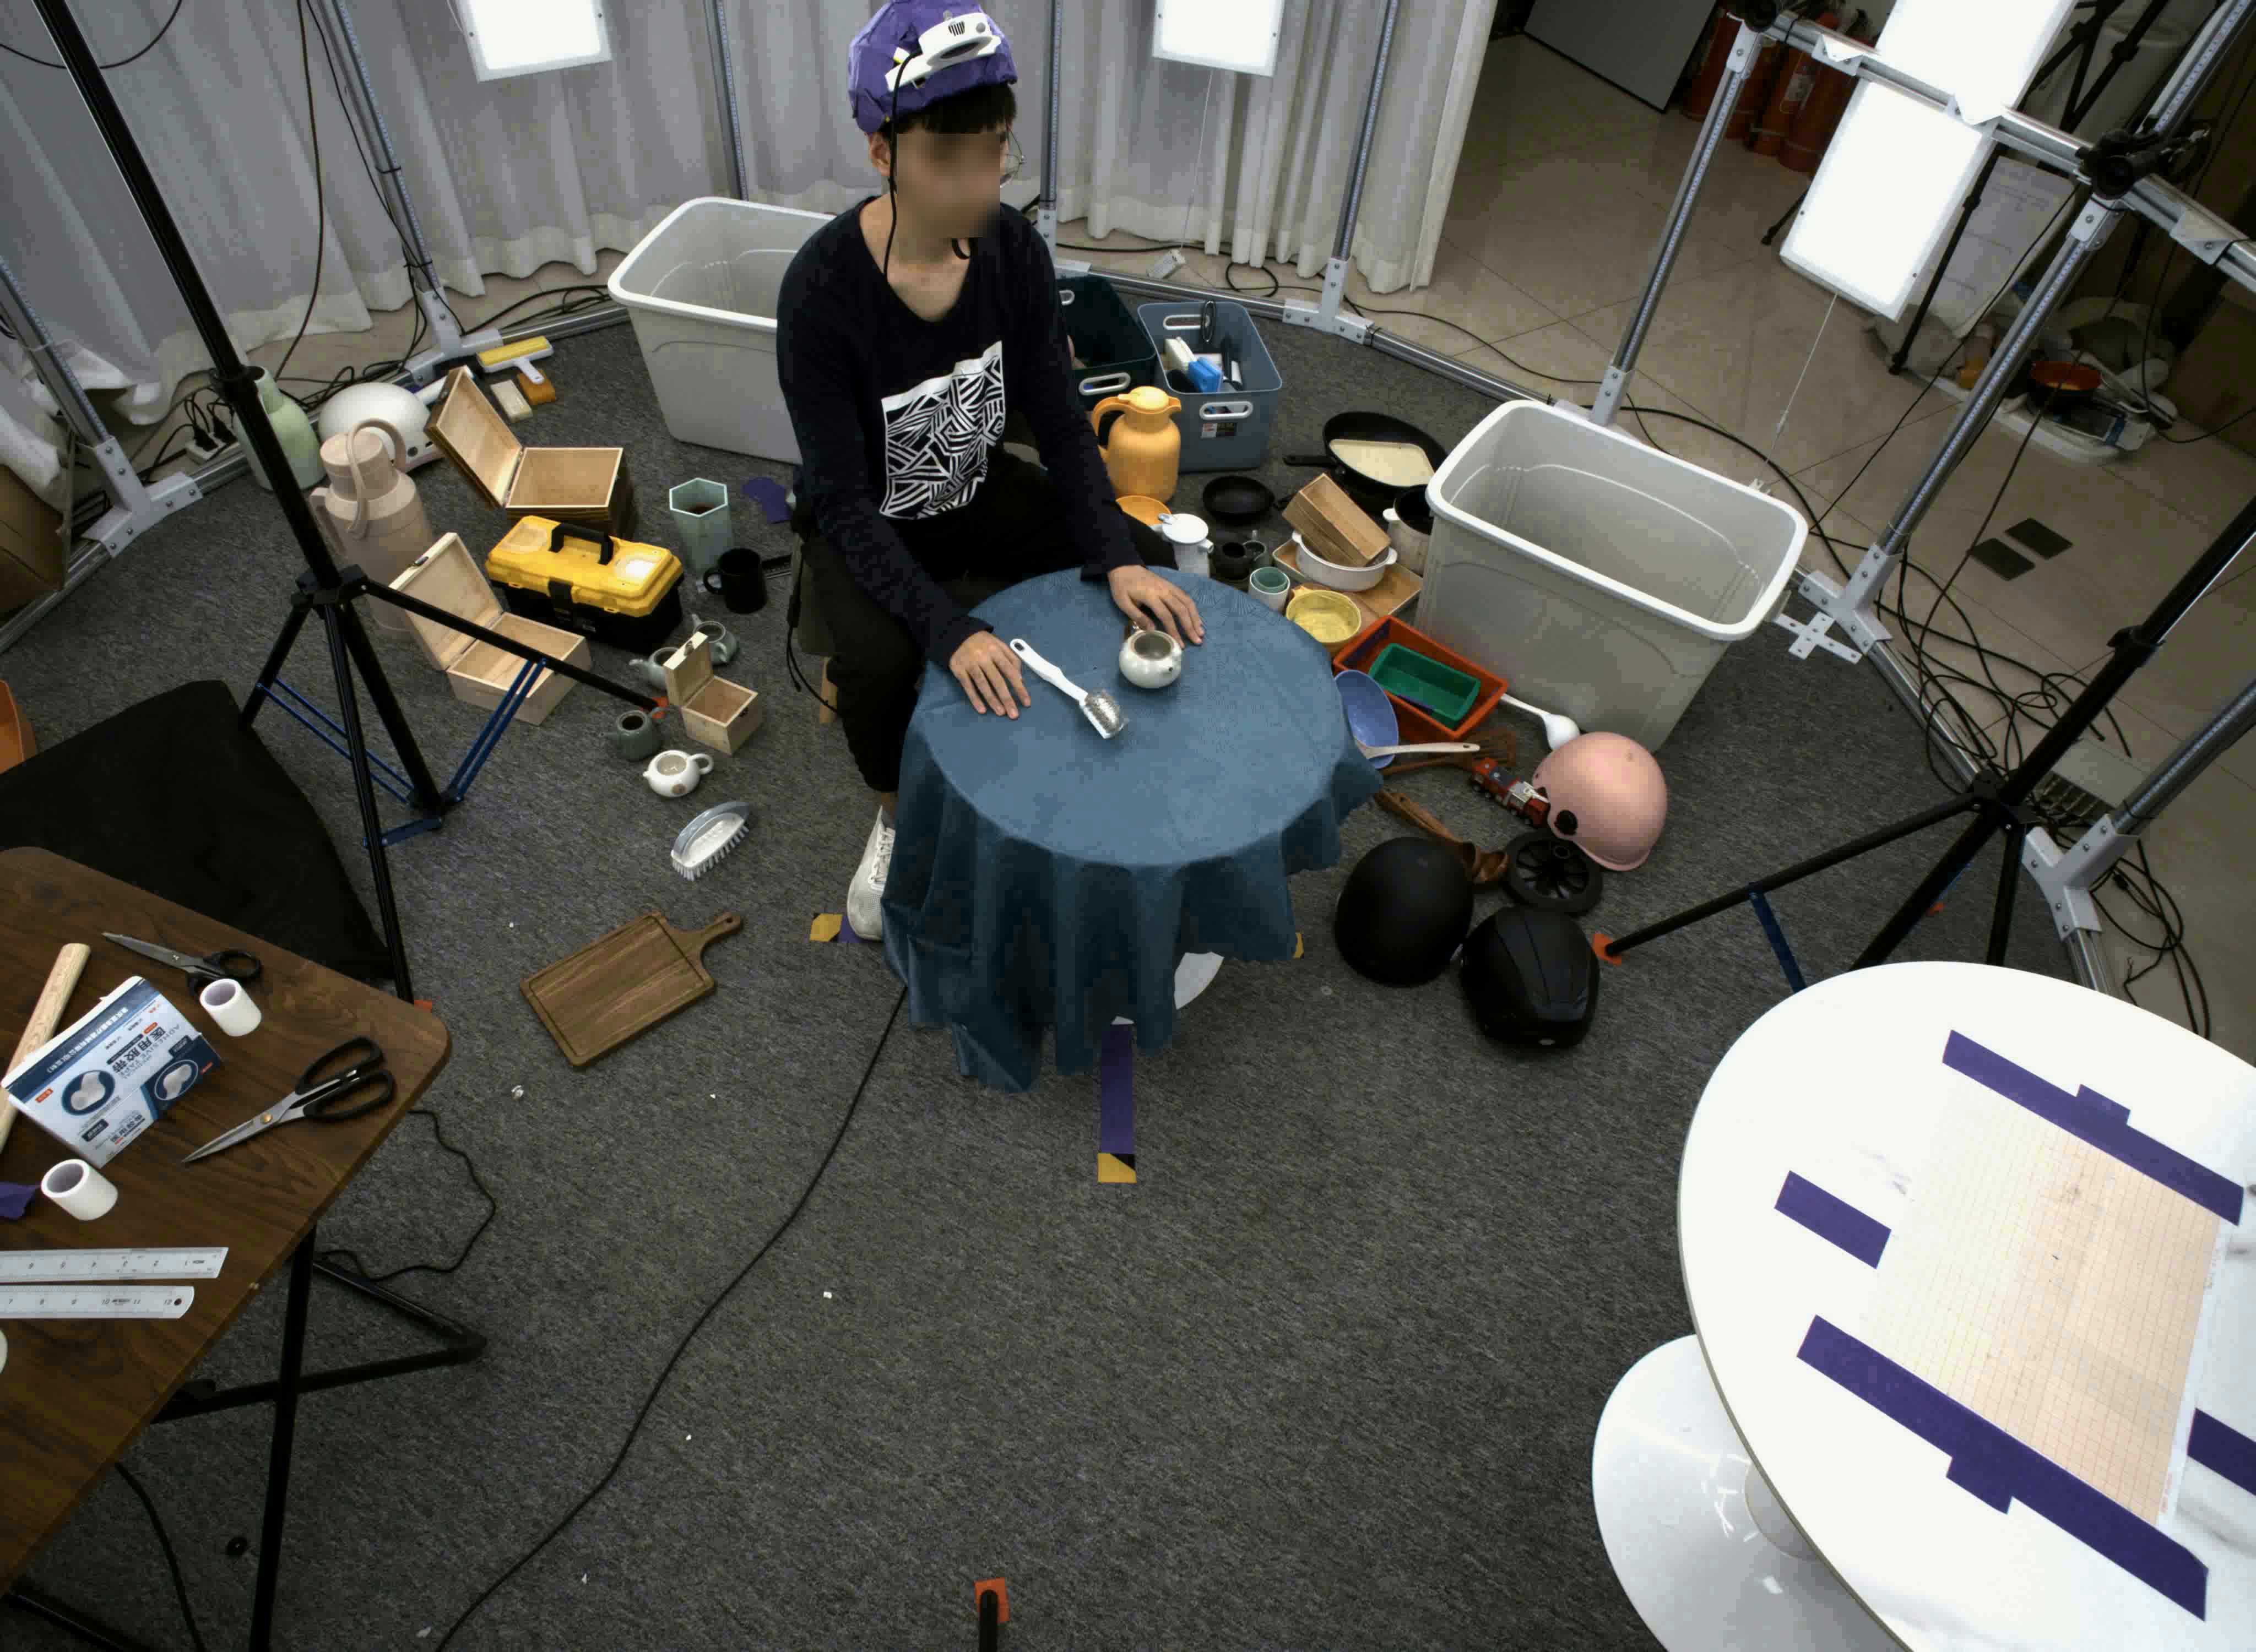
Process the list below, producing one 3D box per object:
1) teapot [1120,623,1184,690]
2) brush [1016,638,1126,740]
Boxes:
[{"bbox_3d":[0.030,-0.243,1.845,0.092,0.058,0.130,-24,55,-21],"label":"teapot"},{"bbox_3d":[-0.085,-0.208,1.813,0.034,0.049,0.248,-30,57,-21],"label":"brush"}]
